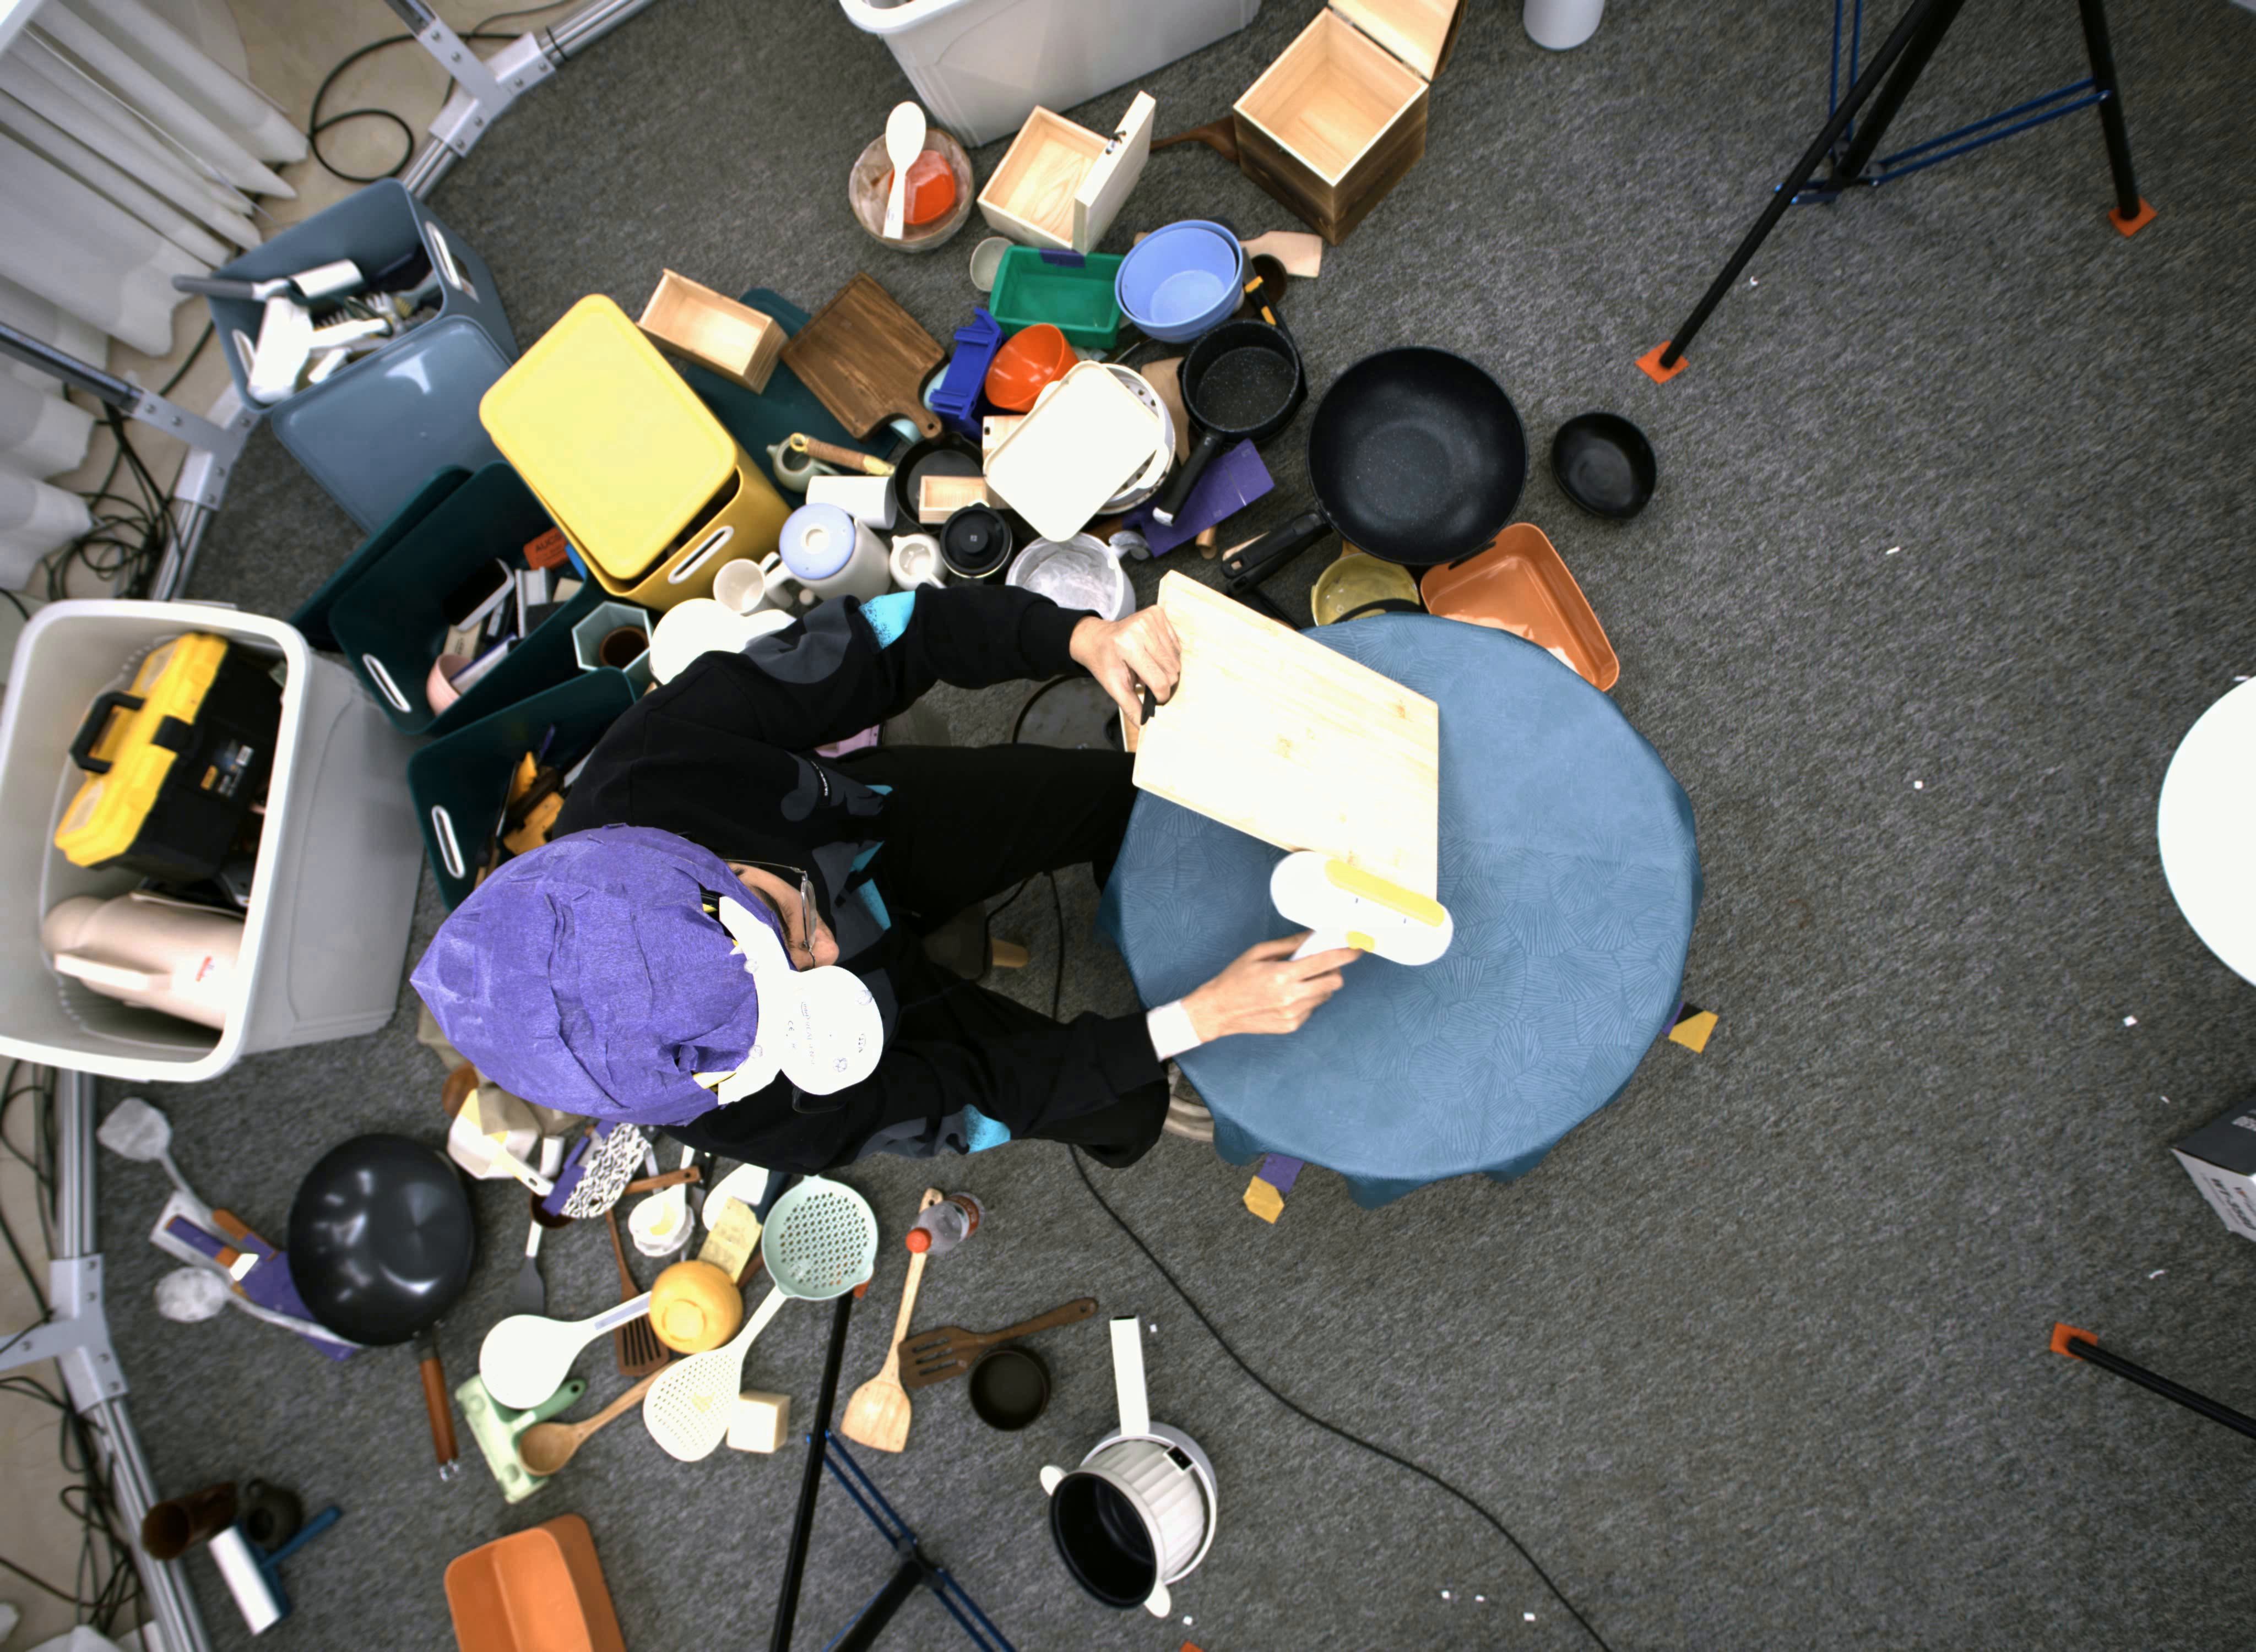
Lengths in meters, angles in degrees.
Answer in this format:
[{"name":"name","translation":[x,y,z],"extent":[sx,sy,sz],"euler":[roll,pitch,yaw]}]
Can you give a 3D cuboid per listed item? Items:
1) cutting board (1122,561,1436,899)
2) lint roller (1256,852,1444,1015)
[{"name":"cutting board","translation":[0.159,-0.086,1.328],"extent":[0.349,0.024,0.245],"euler":[21,59,-24]},{"name":"lint roller","translation":[0.185,0.114,1.341],"extent":[0.193,0.197,0.072],"euler":[15,50,-23]}]
